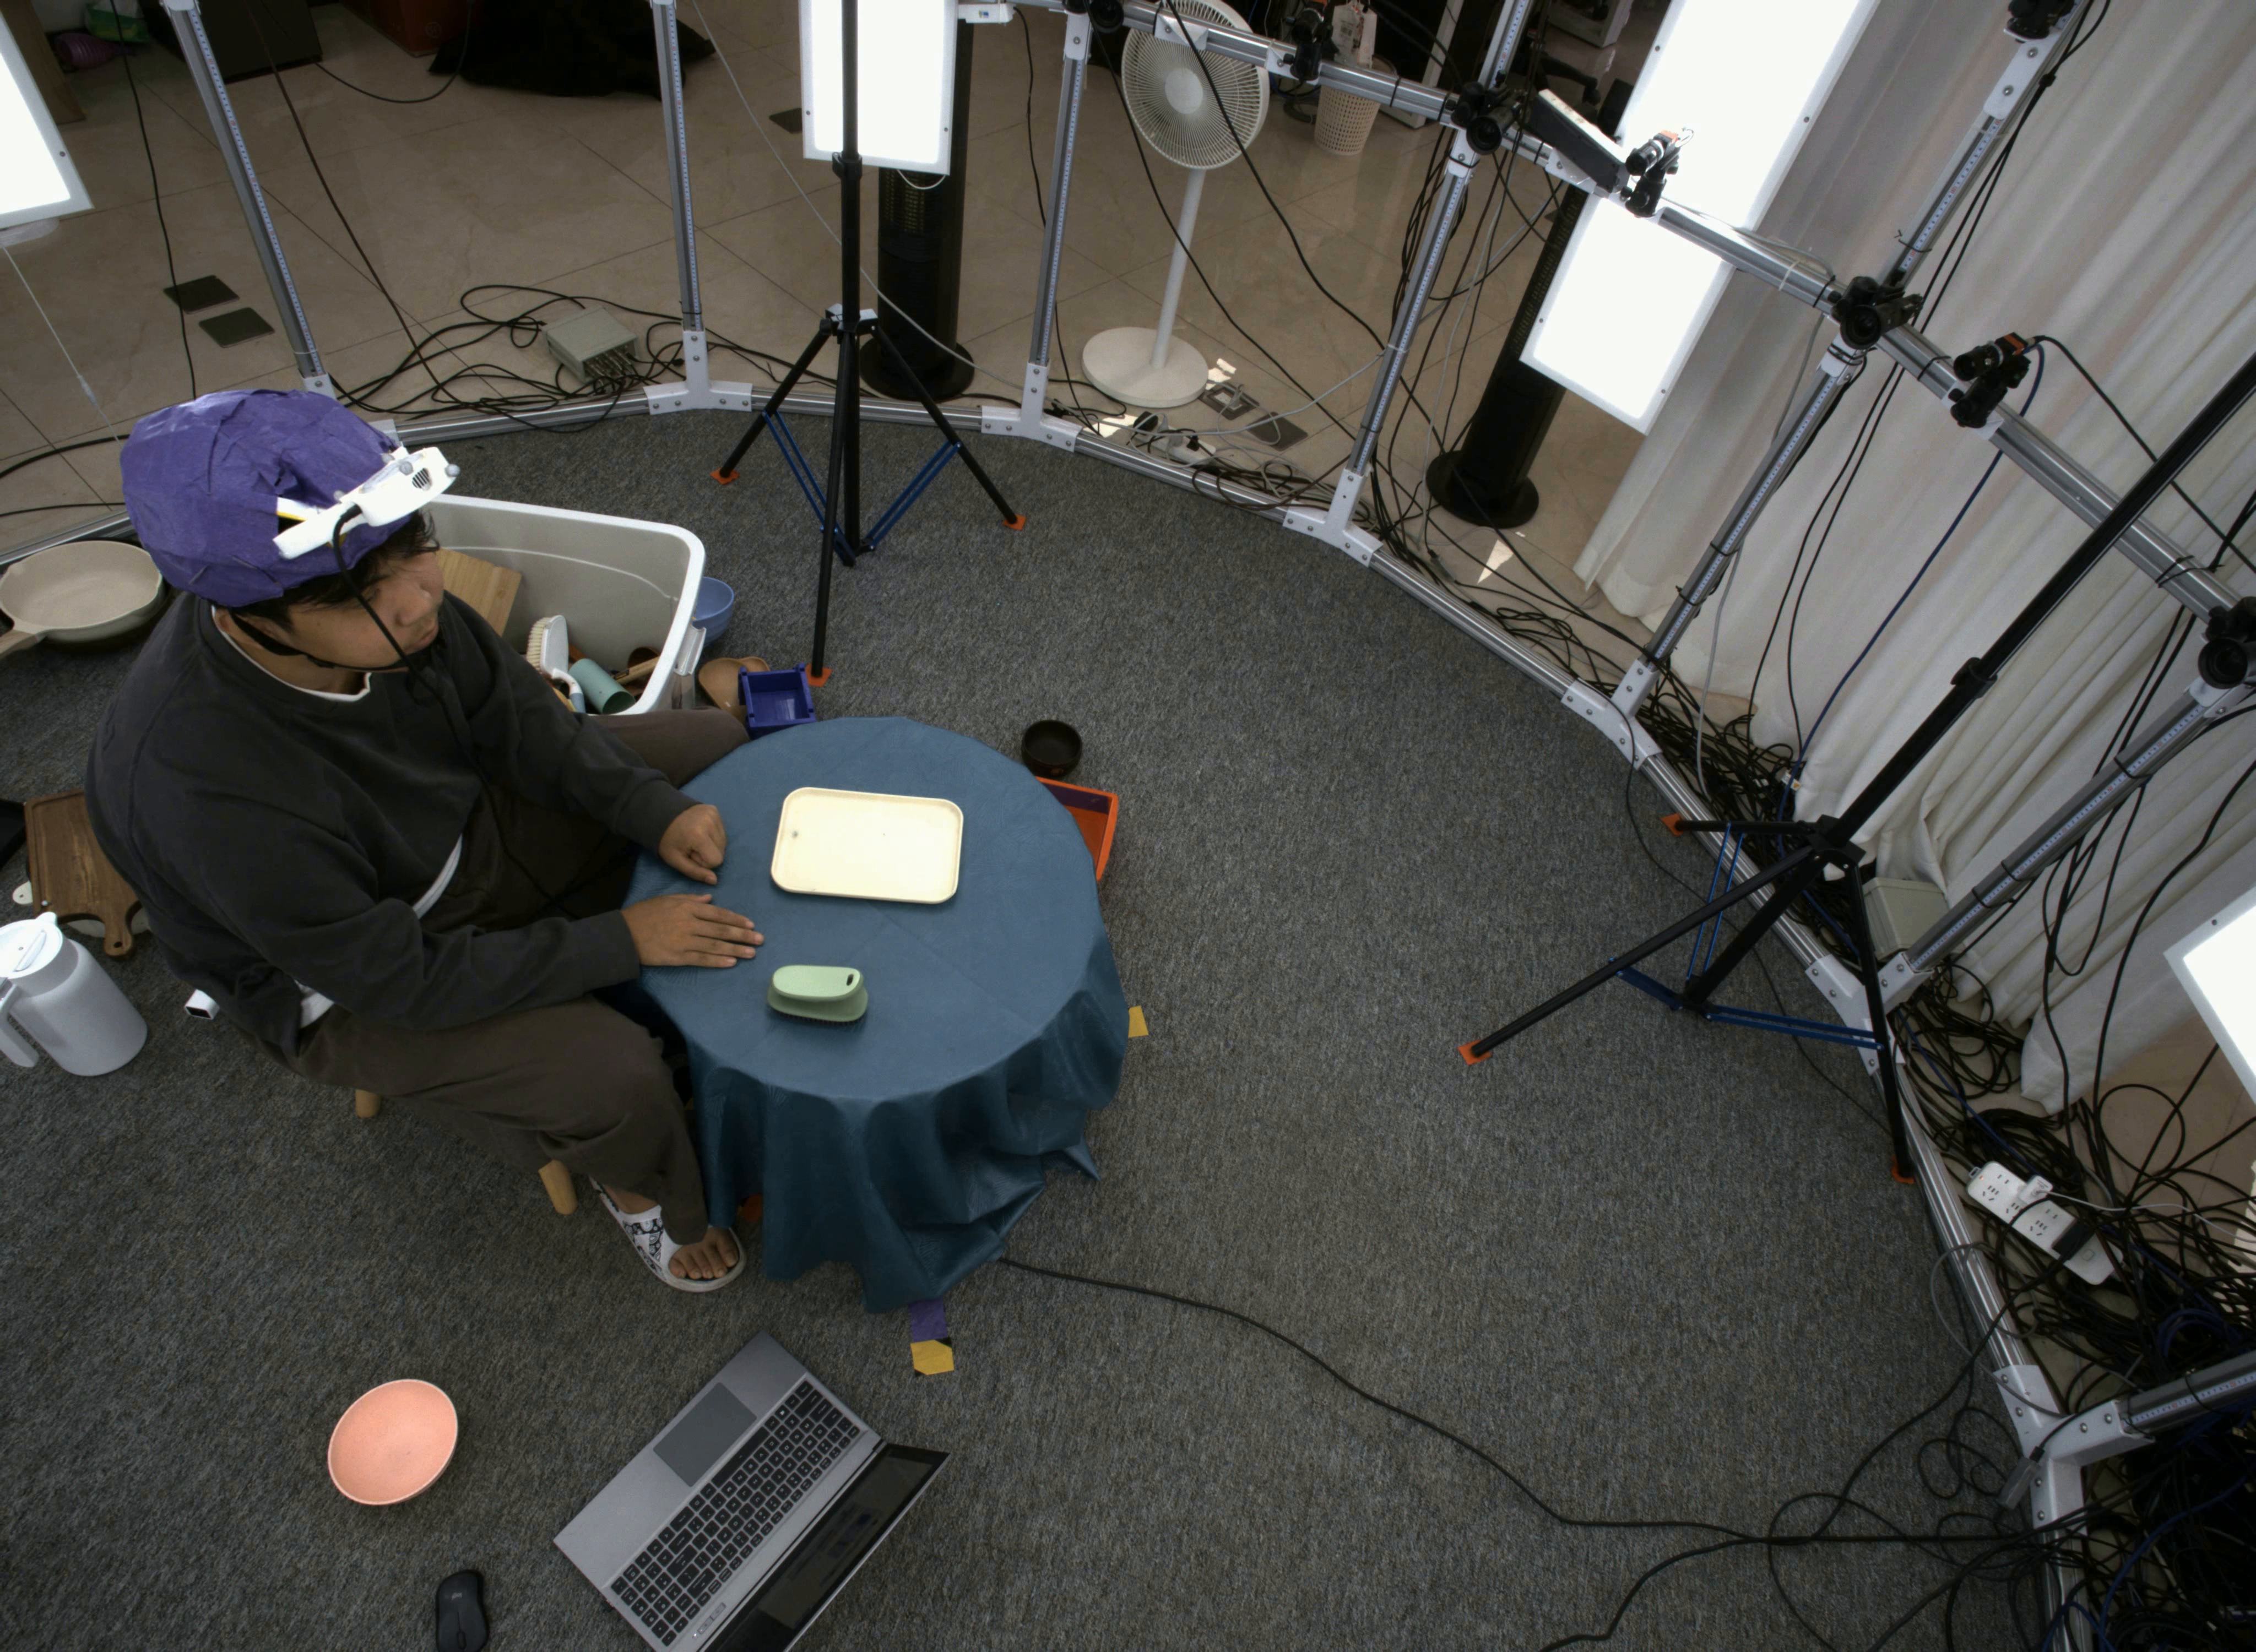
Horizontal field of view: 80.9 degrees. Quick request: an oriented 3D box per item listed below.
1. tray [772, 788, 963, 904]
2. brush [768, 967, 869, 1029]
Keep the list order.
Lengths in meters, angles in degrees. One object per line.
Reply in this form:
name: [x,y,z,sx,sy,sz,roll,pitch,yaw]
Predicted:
tray: [-0.339,0.026,1.710,0.239,0.018,0.168,6,52,-10]
brush: [-0.368,0.202,1.549,0.121,0.078,0.058,-1,51,4]
